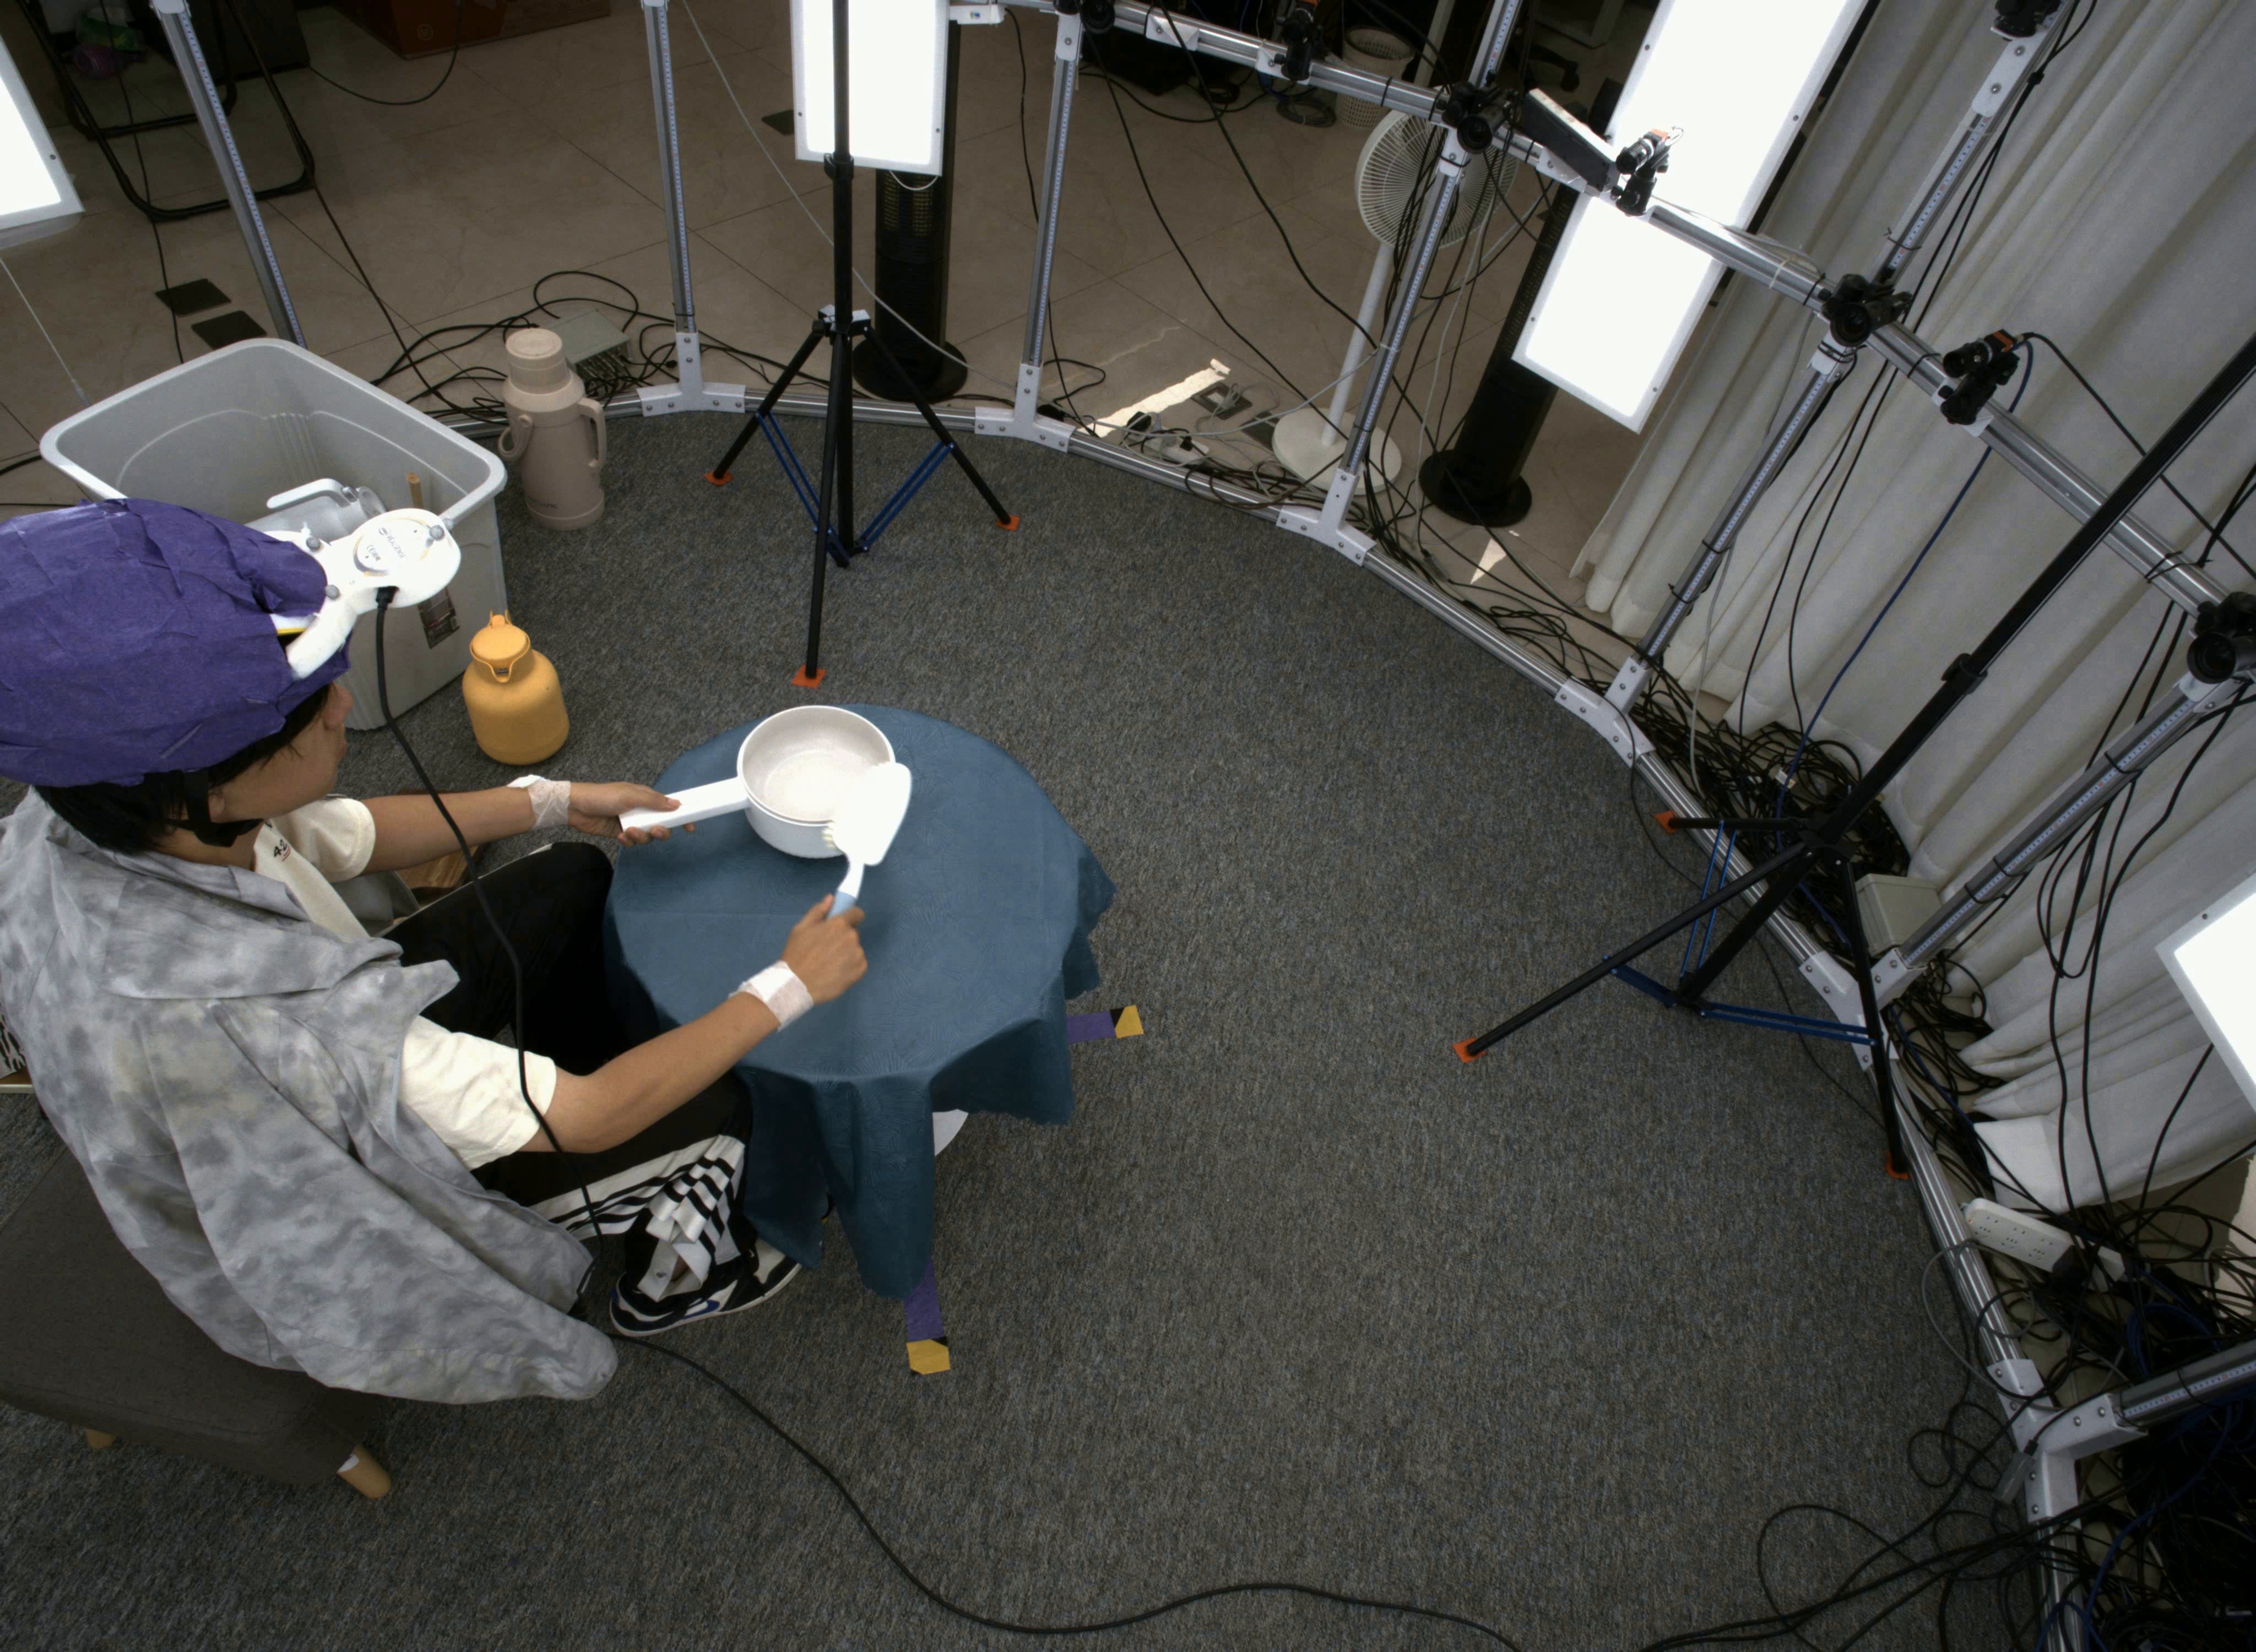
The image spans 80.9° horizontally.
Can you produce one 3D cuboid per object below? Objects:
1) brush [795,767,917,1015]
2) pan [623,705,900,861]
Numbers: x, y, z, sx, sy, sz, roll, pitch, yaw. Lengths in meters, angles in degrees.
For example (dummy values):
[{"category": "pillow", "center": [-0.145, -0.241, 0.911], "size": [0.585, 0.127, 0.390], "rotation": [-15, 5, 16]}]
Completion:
[{"category": "brush", "center": [-0.337, 0.071, 1.539], "size": [0.082, 0.086, 0.324], "rotation": [17, 67, 7]}, {"category": "pan", "center": [-0.468, -0.031, 1.674], "size": [0.356, 0.104, 0.196], "rotation": [-18, 60, -24]}]
